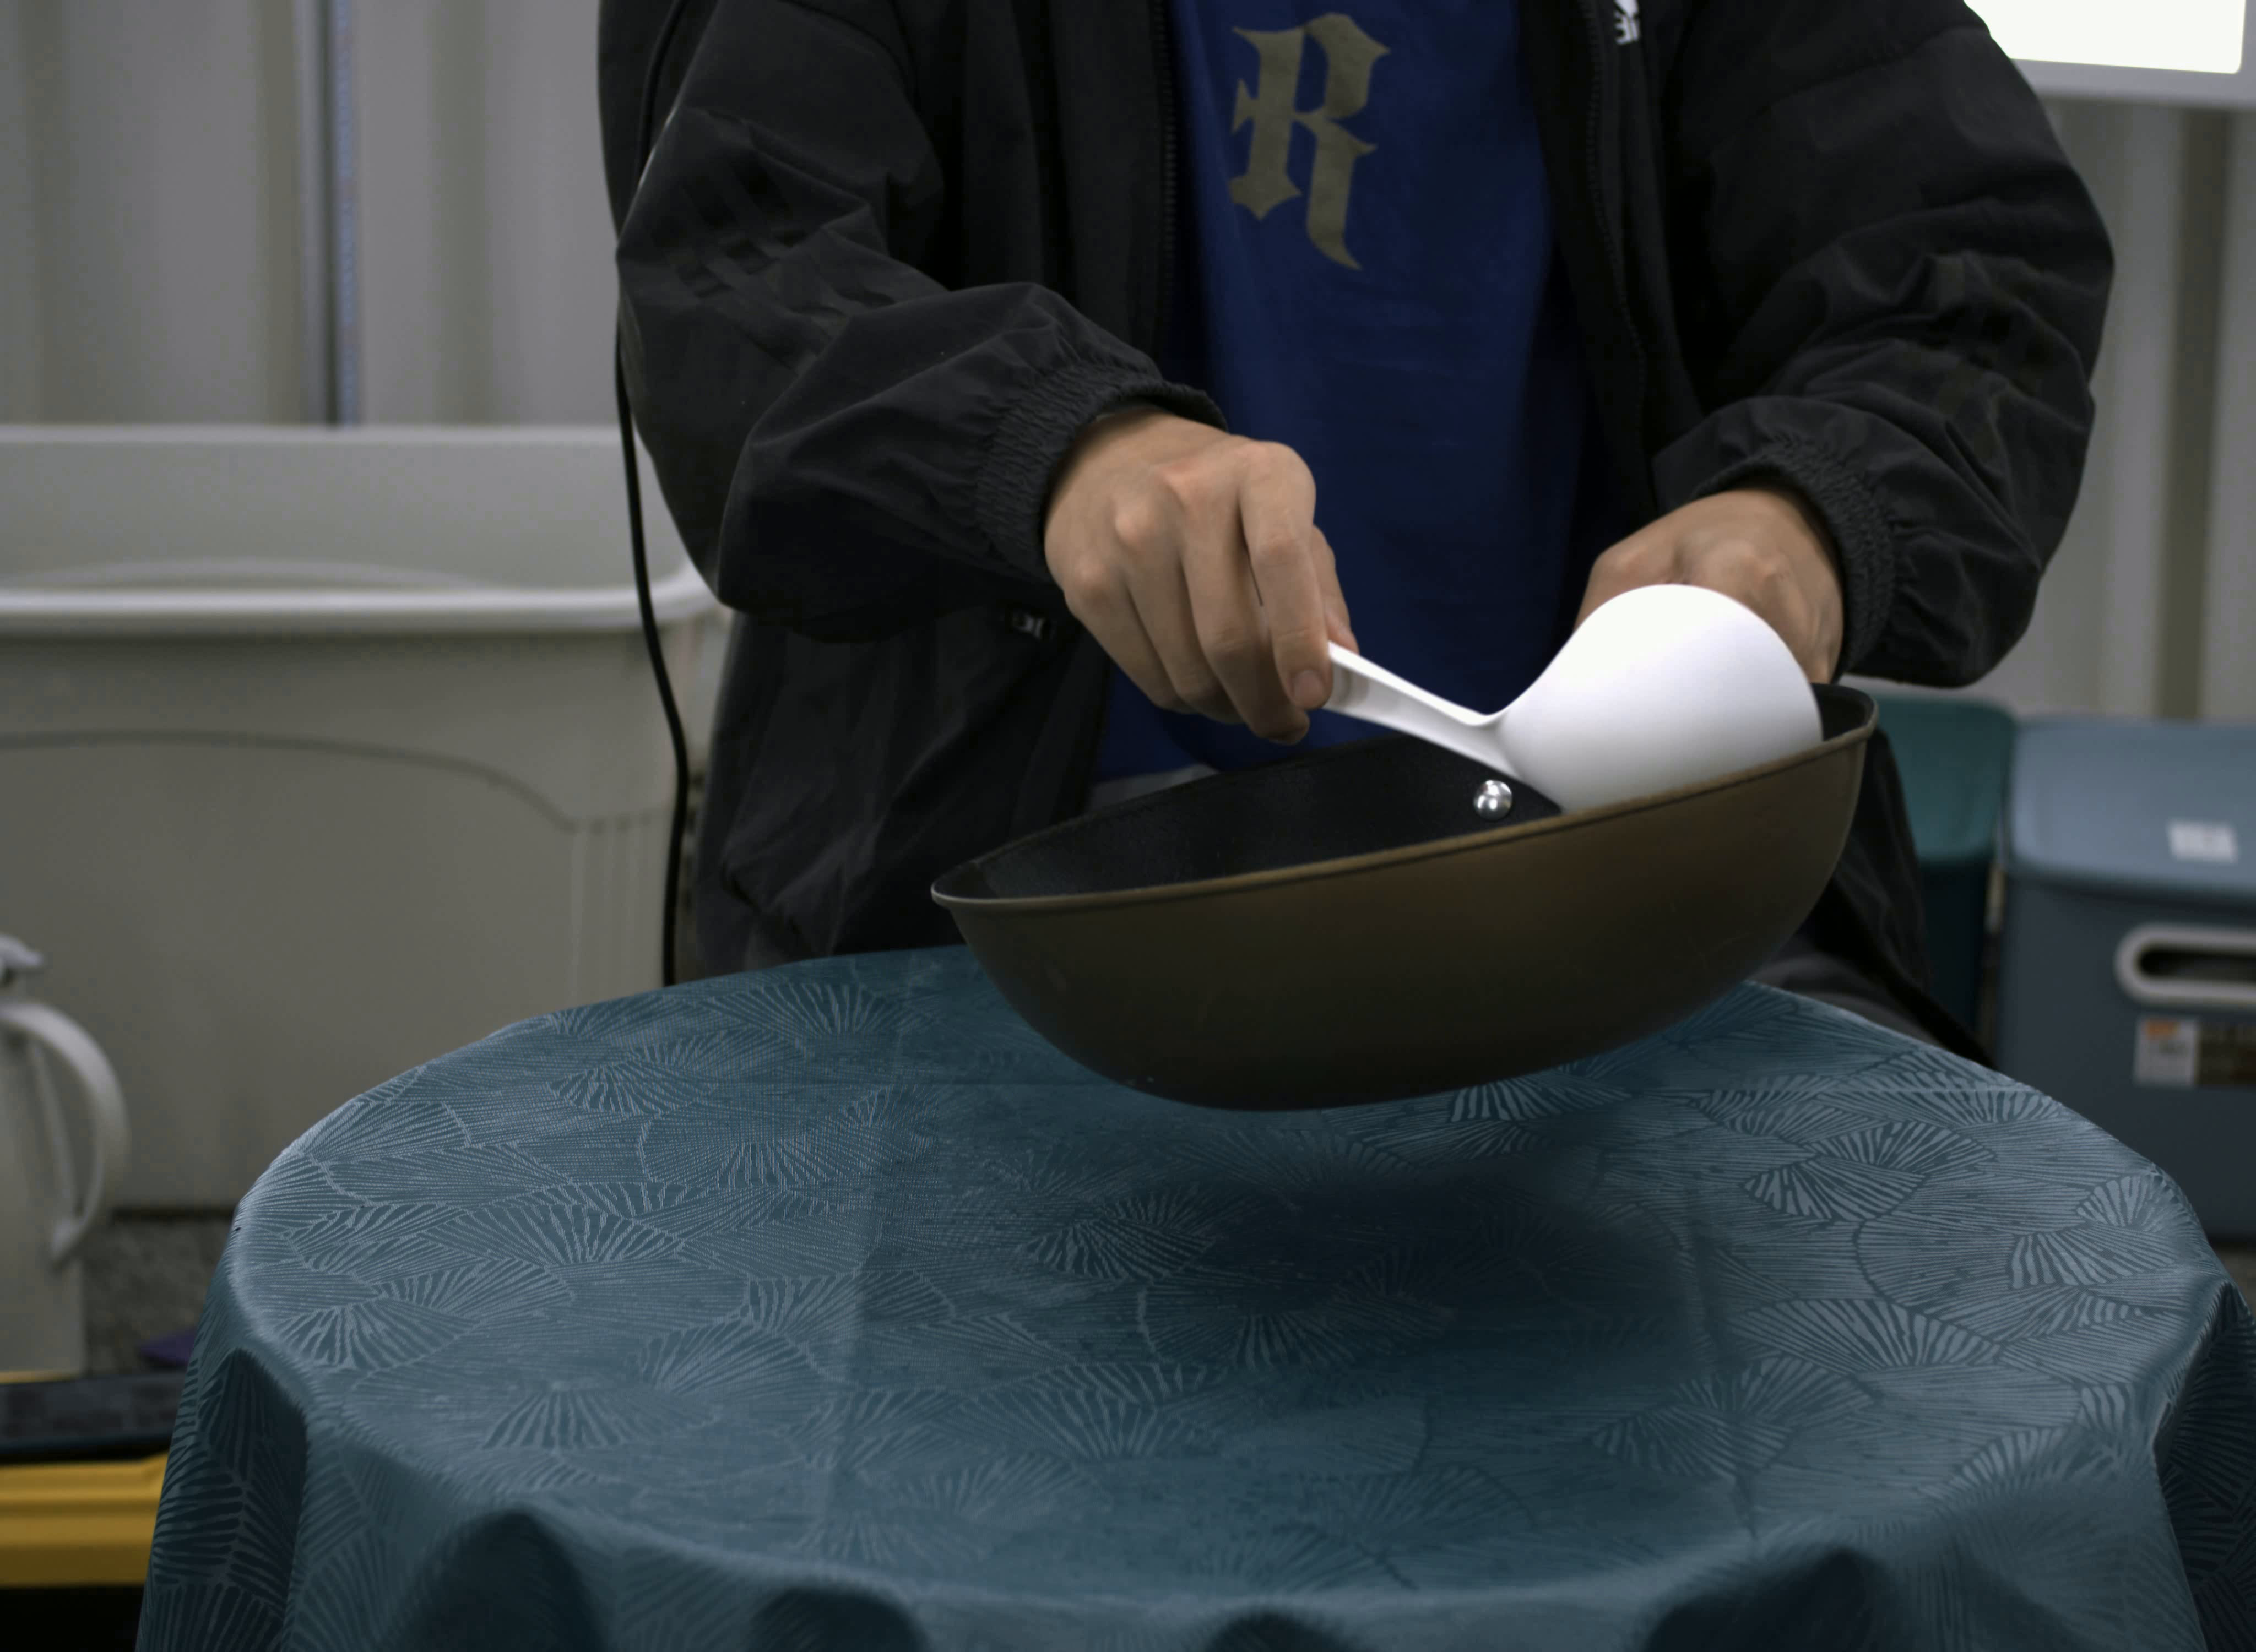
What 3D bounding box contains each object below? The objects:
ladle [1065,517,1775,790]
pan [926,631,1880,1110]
[{"bbox_3d":[0.079,-0.056,1.606,0.070,0.091,0.290,-37,23,-22],"label":"ladle"},{"bbox_3d":[0.122,0.010,1.626,0.285,0.087,0.464,-8,7,24],"label":"pan"}]
